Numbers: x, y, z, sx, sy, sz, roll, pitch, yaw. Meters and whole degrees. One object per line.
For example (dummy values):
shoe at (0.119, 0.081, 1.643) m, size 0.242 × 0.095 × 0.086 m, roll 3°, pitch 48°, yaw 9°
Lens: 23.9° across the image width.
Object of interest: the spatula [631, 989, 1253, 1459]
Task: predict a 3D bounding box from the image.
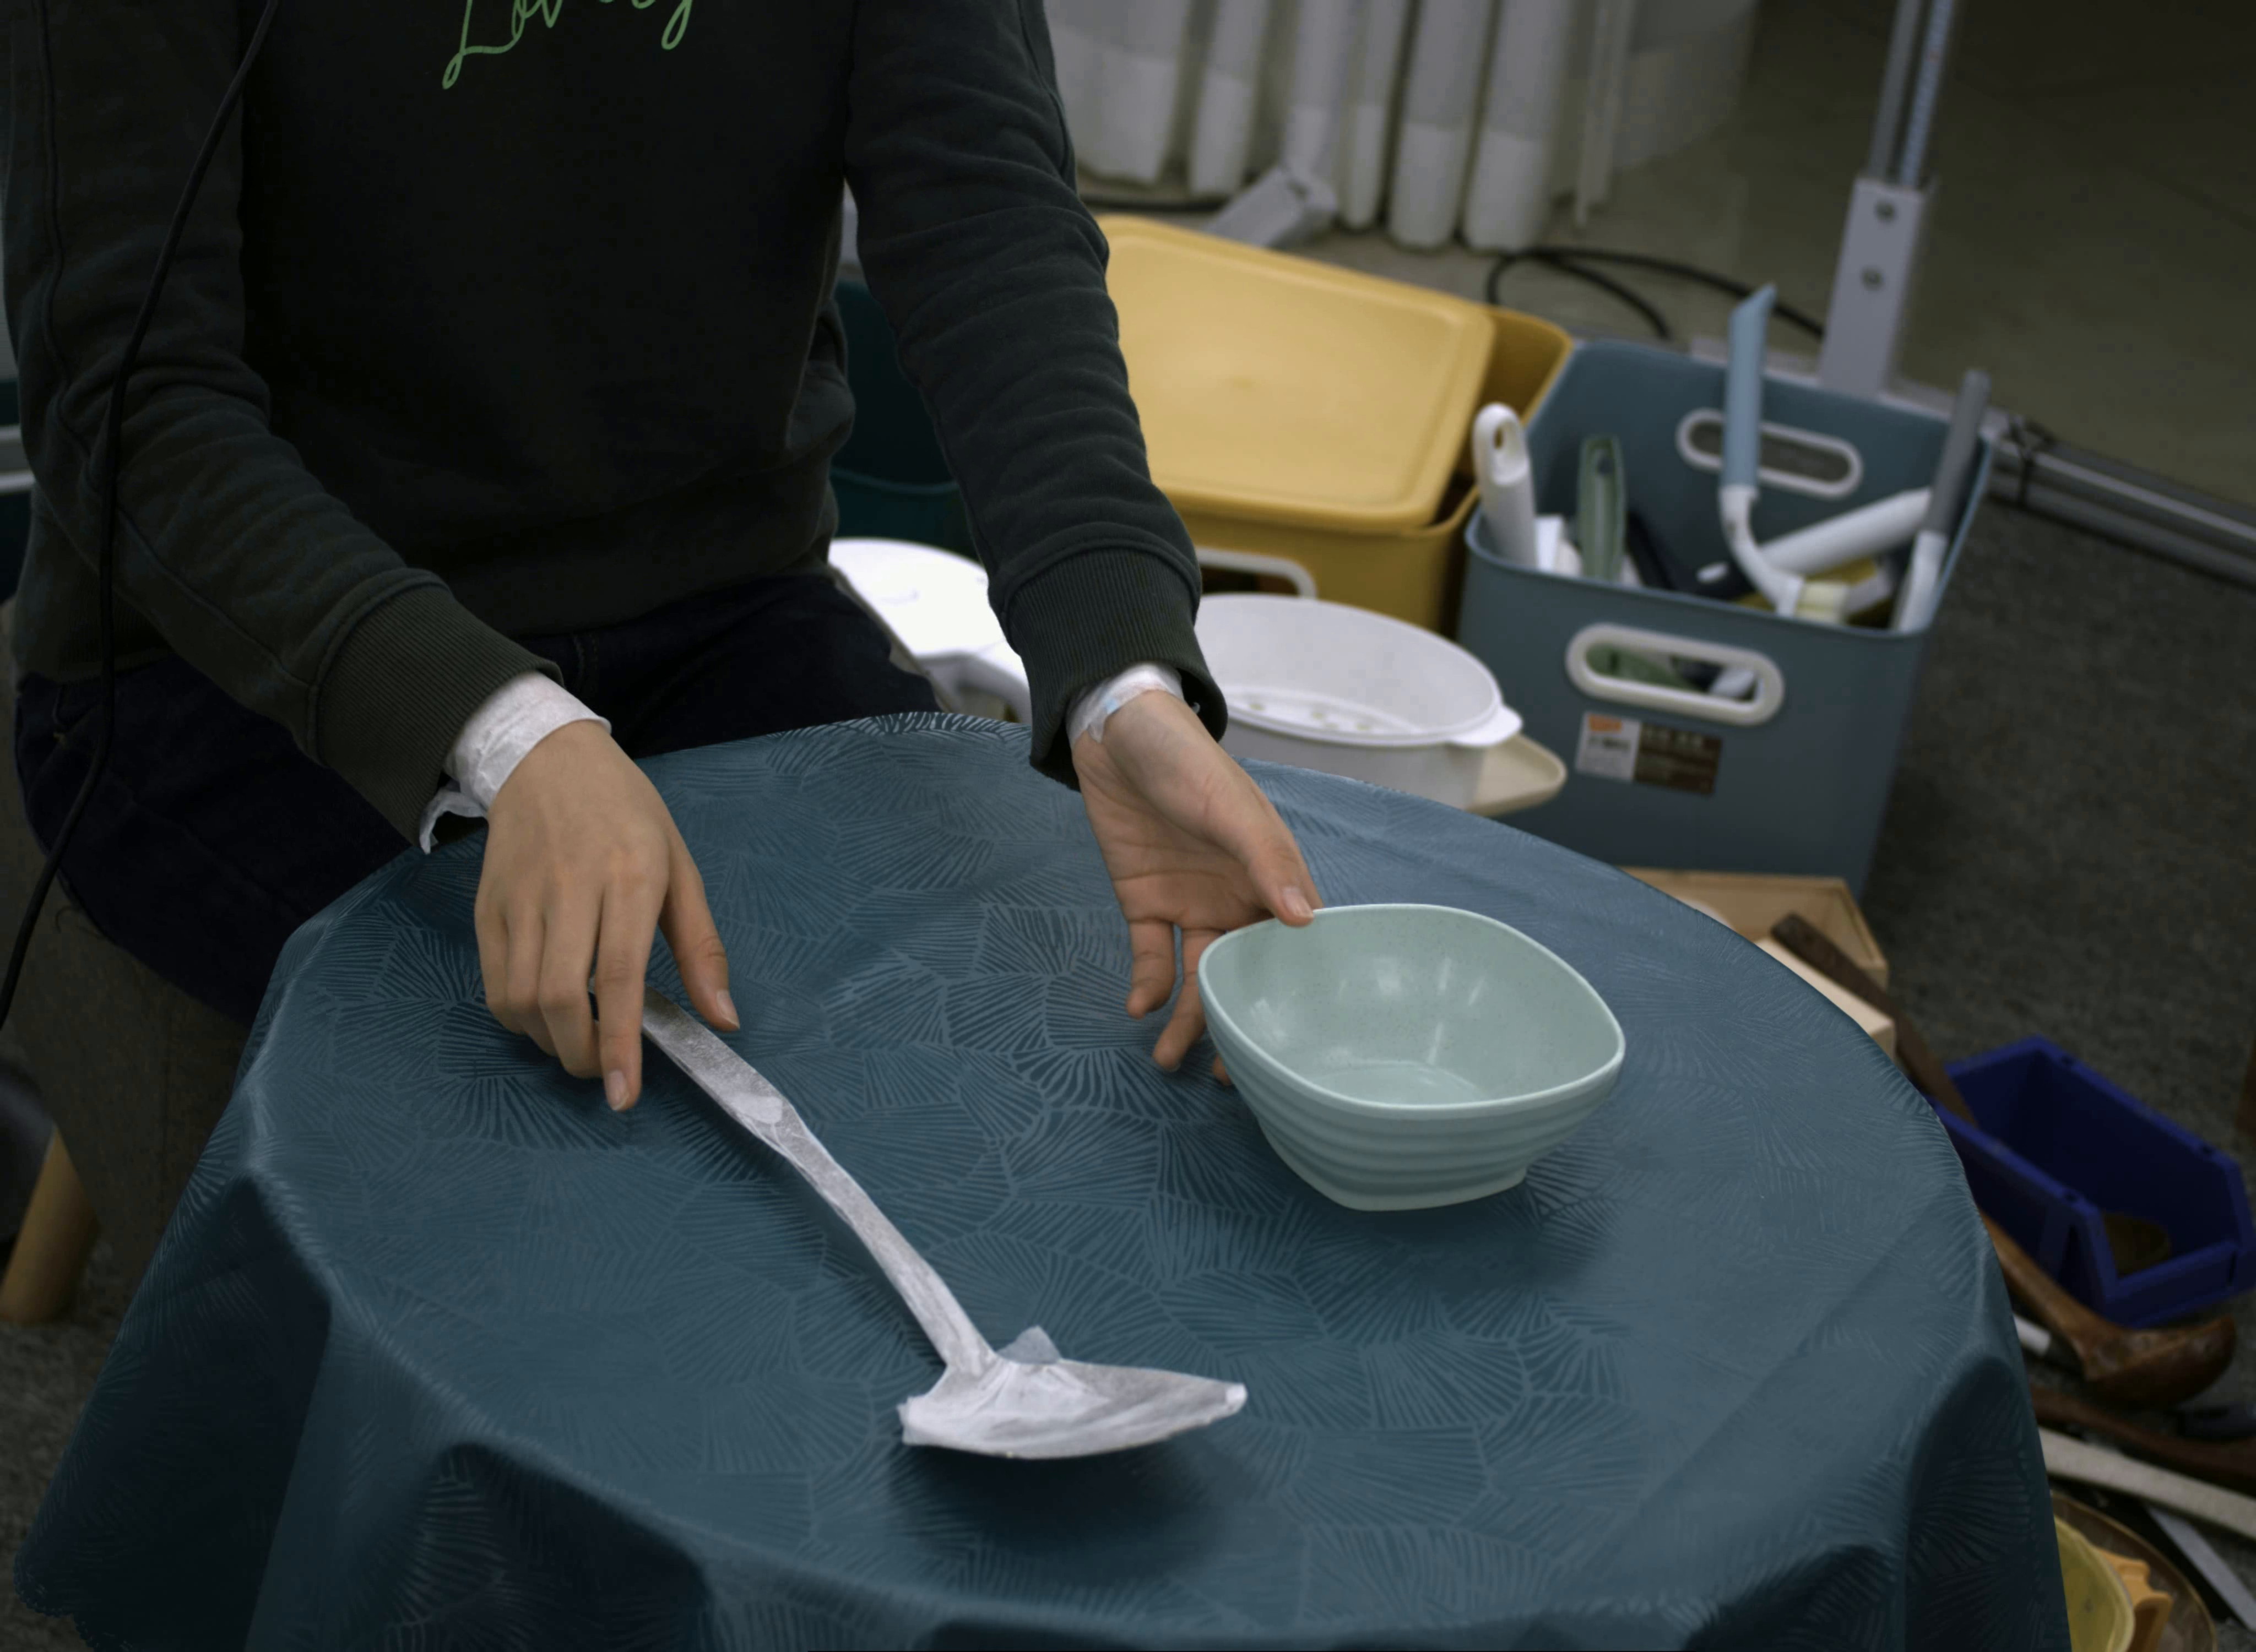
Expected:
spatula at (-0.085, 0.122, 1.742) m, size 0.098 × 0.044 × 0.368 m, roll -11°, pitch 32°, yaw -28°

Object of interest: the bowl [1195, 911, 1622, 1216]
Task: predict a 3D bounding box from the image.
bowl at (0.092, 0.088, 1.833) m, size 0.151 × 0.058 × 0.152 m, roll 7°, pitch 26°, yaw -4°
